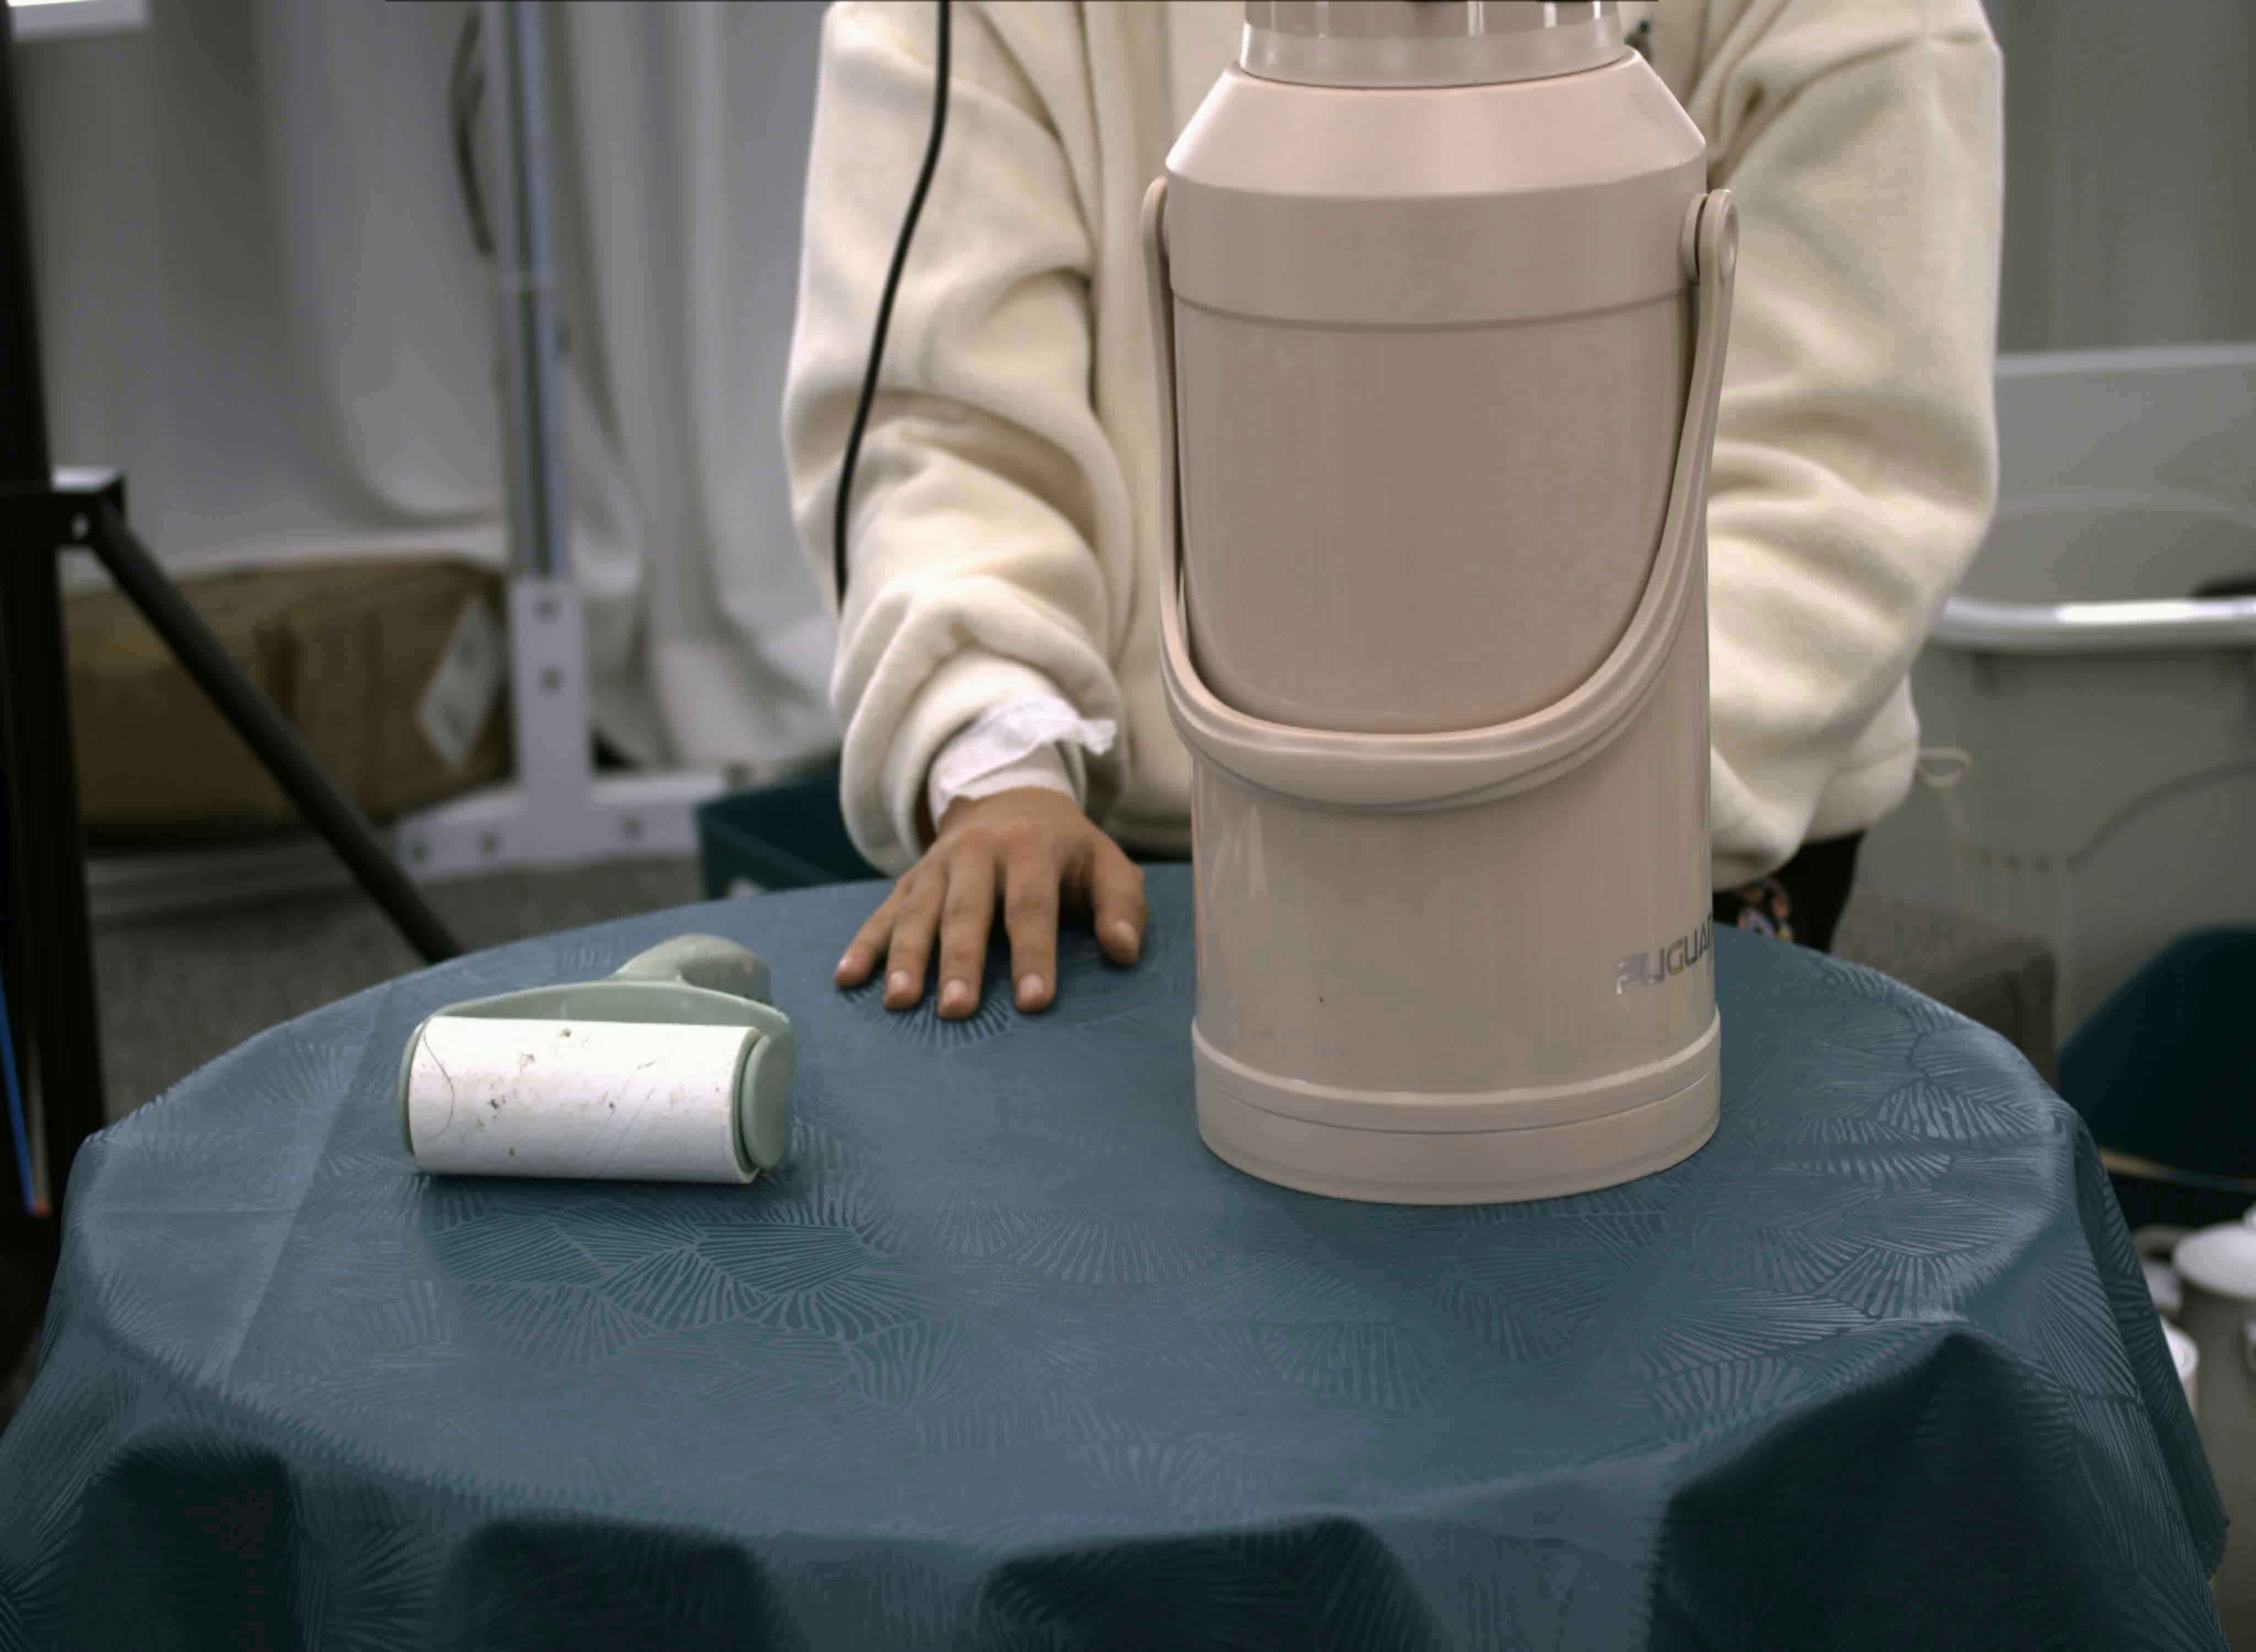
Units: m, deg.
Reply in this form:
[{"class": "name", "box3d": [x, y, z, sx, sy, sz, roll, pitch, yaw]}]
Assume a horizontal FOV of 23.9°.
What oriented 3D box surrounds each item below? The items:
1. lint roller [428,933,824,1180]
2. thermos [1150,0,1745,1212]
[{"class": "lint roller", "box3d": [-0.137, 0.062, 1.657, 0.117, 0.048, 0.196, -1, 17, 13]}, {"class": "thermos", "box3d": [0.099, -0.104, 1.567, 0.177, 0.406, 0.204, 4, 16, 22]}]
